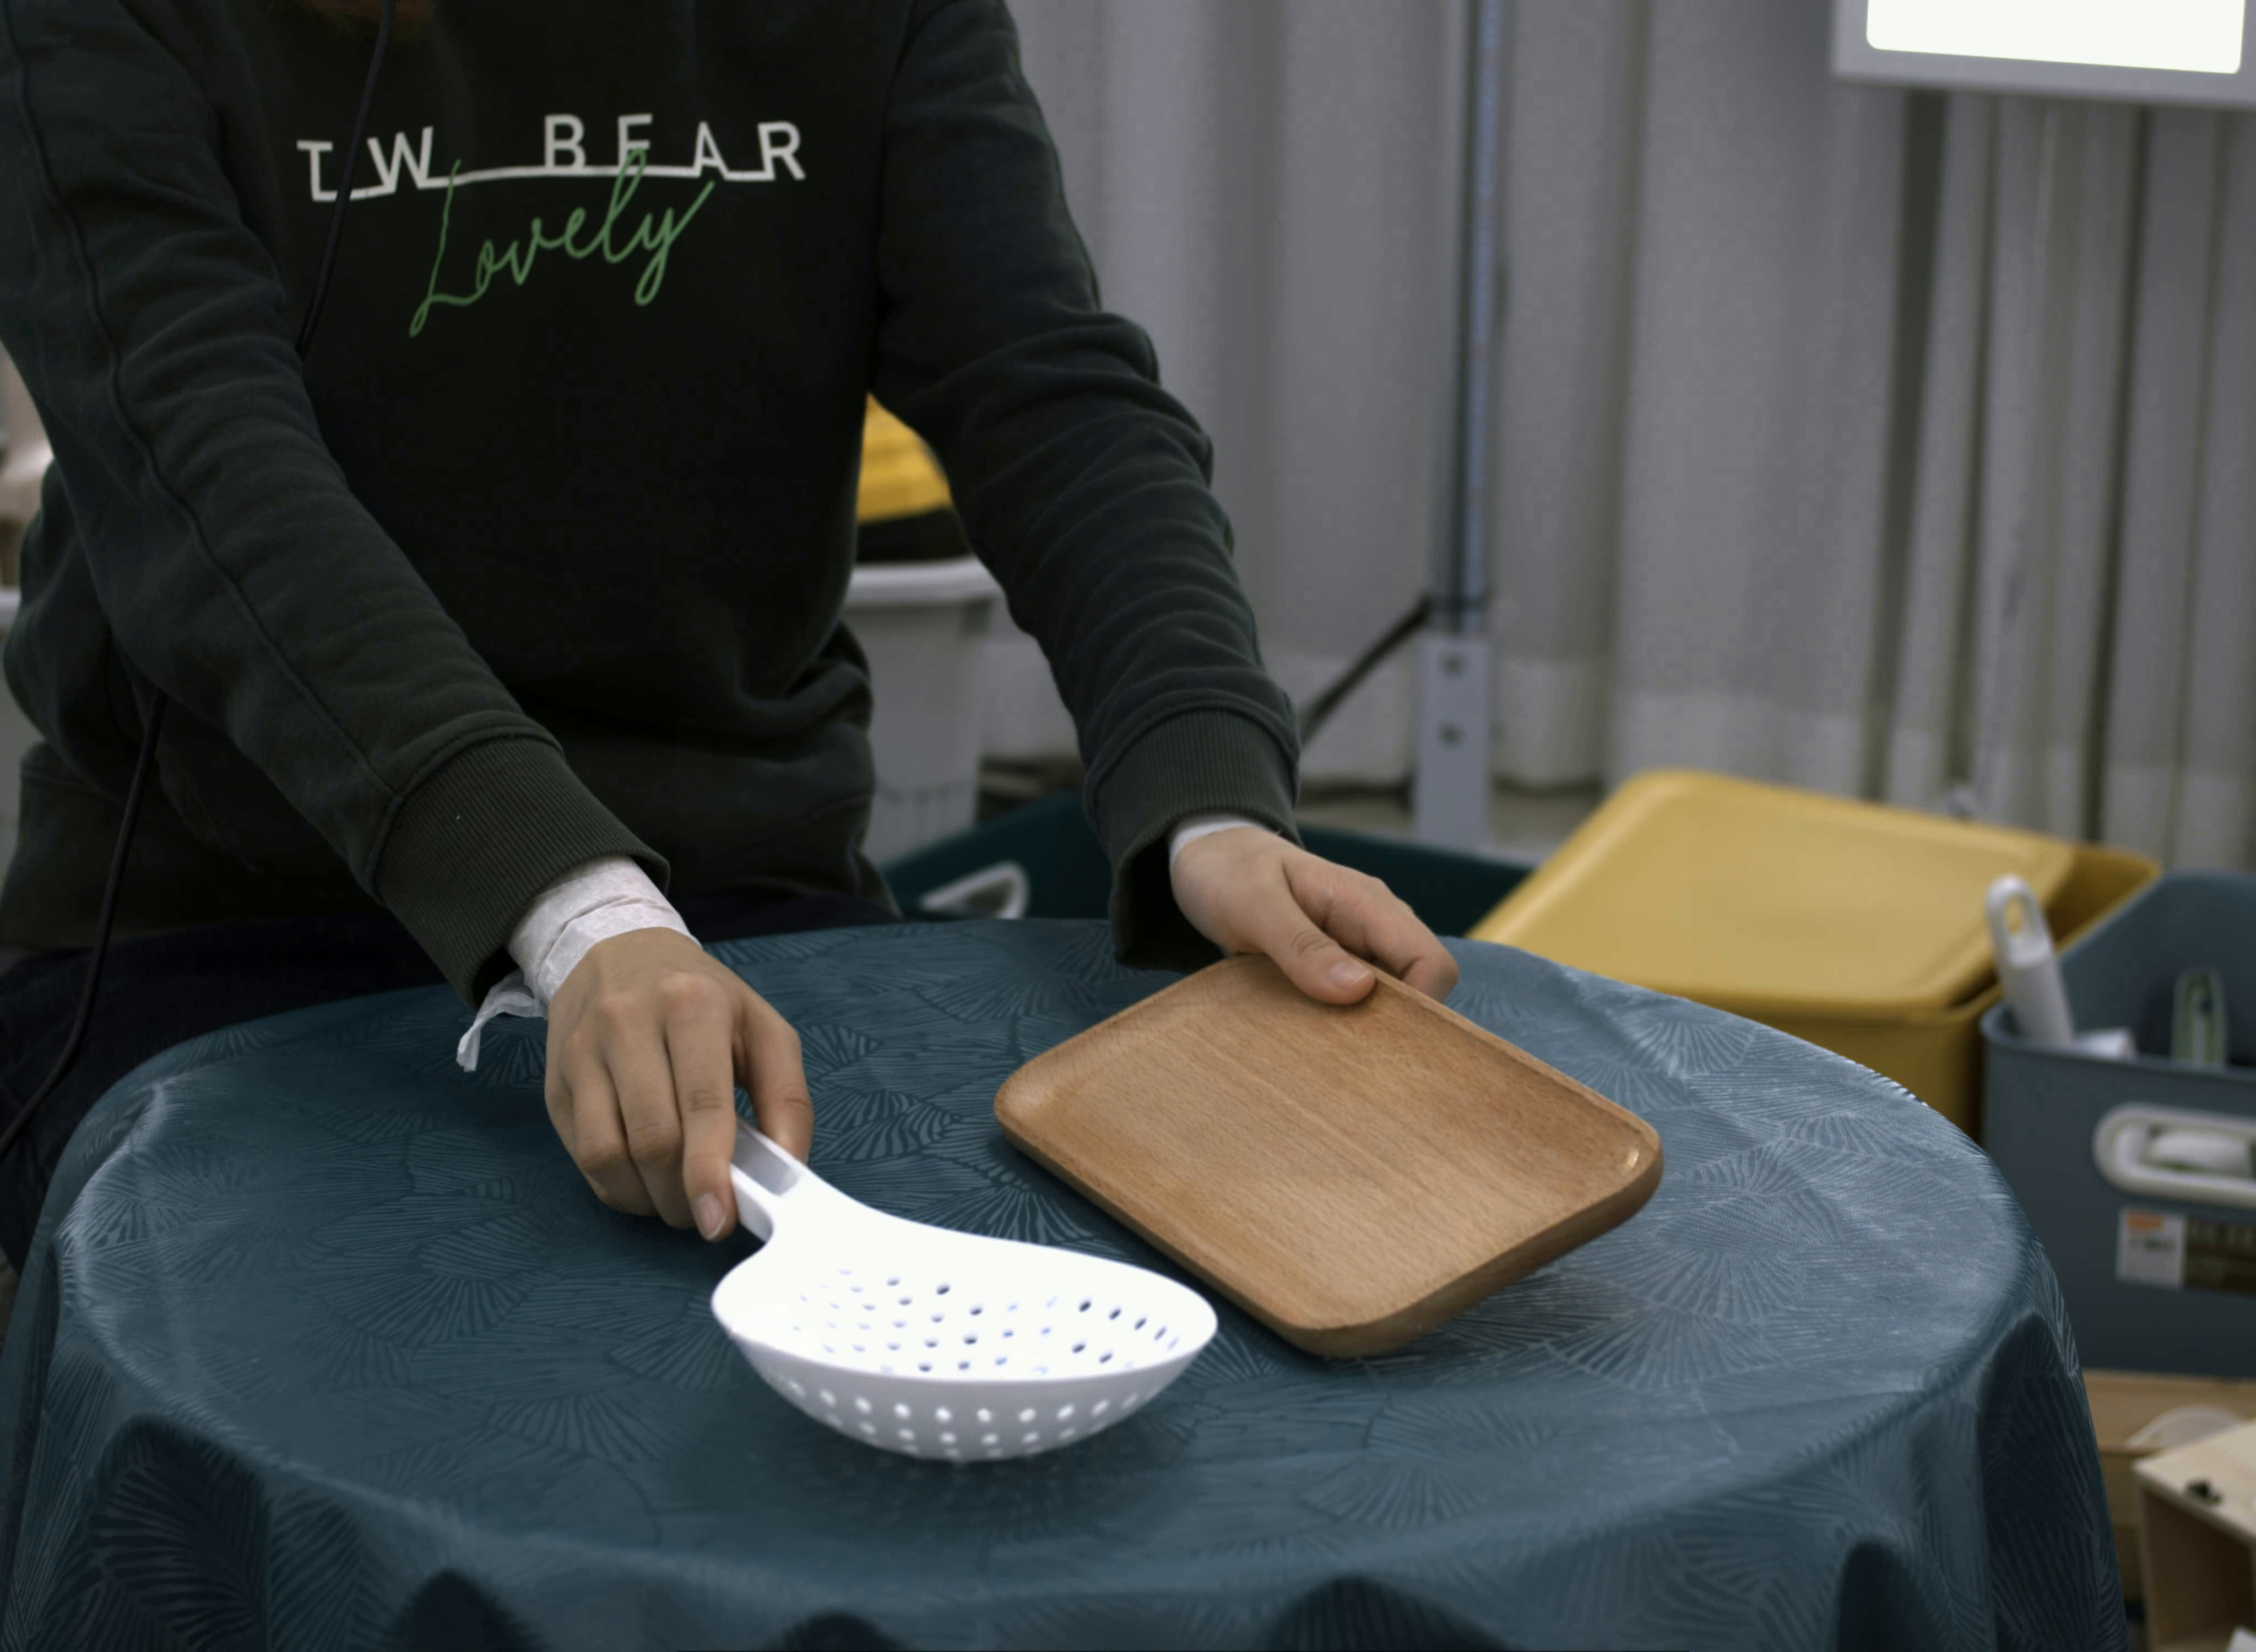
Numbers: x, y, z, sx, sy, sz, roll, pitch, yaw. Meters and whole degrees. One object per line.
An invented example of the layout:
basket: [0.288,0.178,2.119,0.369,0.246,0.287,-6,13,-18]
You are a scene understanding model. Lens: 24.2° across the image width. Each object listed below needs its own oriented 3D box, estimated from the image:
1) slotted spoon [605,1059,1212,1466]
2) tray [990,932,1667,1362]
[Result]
slotted spoon: [-0.088,0.116,1.511,0.136,0.046,0.345,-1,17,-24]
tray: [0.057,0.094,1.594,0.130,0.023,0.247,-24,24,-18]
